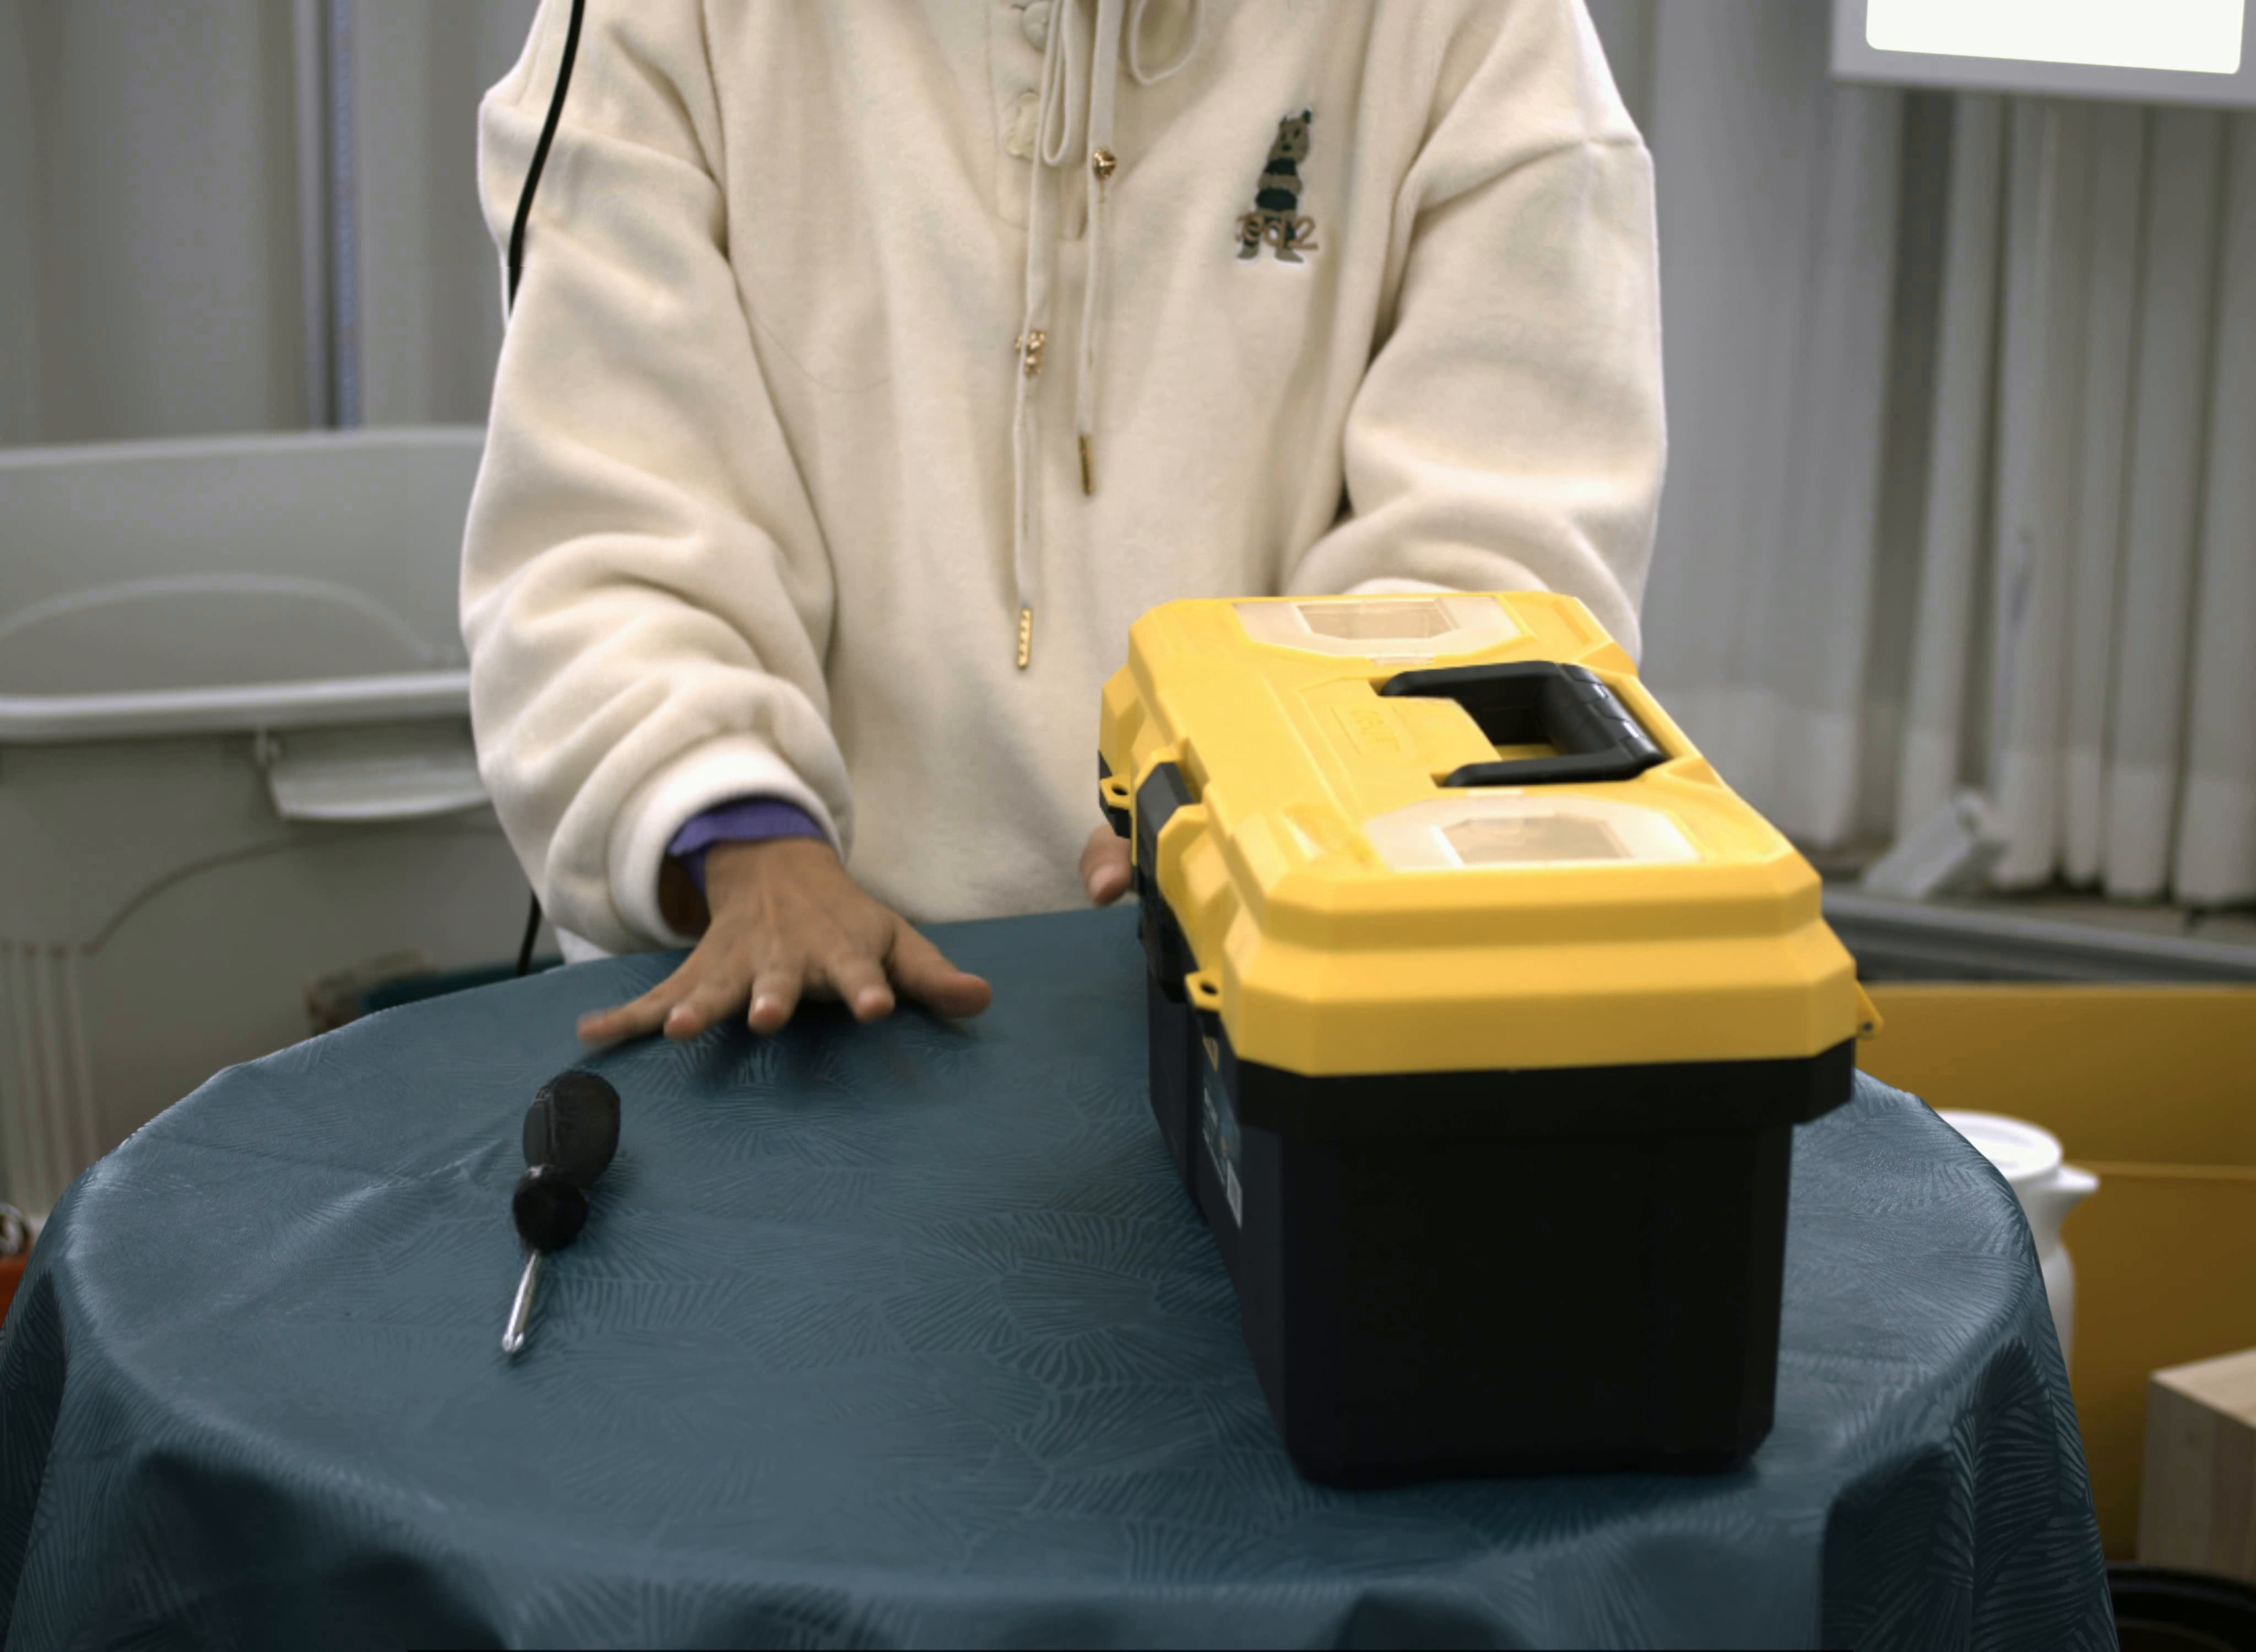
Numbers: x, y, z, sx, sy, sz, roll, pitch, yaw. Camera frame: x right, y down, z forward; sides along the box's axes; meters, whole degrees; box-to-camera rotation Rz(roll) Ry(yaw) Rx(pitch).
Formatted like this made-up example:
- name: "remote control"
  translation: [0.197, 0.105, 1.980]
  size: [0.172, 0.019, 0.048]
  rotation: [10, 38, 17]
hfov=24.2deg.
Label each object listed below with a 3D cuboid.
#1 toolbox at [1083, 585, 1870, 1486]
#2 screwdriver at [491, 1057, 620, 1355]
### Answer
- name: "toolbox"
  translation: [0.091, 0.050, 1.521]
  size: [0.181, 0.174, 0.349]
  rotation: [-2, 16, -6]
- name: "screwdriver"
  translation: [-0.173, 0.110, 1.561]
  size: [0.031, 0.032, 0.195]
  rotation: [1, 17, 1]
